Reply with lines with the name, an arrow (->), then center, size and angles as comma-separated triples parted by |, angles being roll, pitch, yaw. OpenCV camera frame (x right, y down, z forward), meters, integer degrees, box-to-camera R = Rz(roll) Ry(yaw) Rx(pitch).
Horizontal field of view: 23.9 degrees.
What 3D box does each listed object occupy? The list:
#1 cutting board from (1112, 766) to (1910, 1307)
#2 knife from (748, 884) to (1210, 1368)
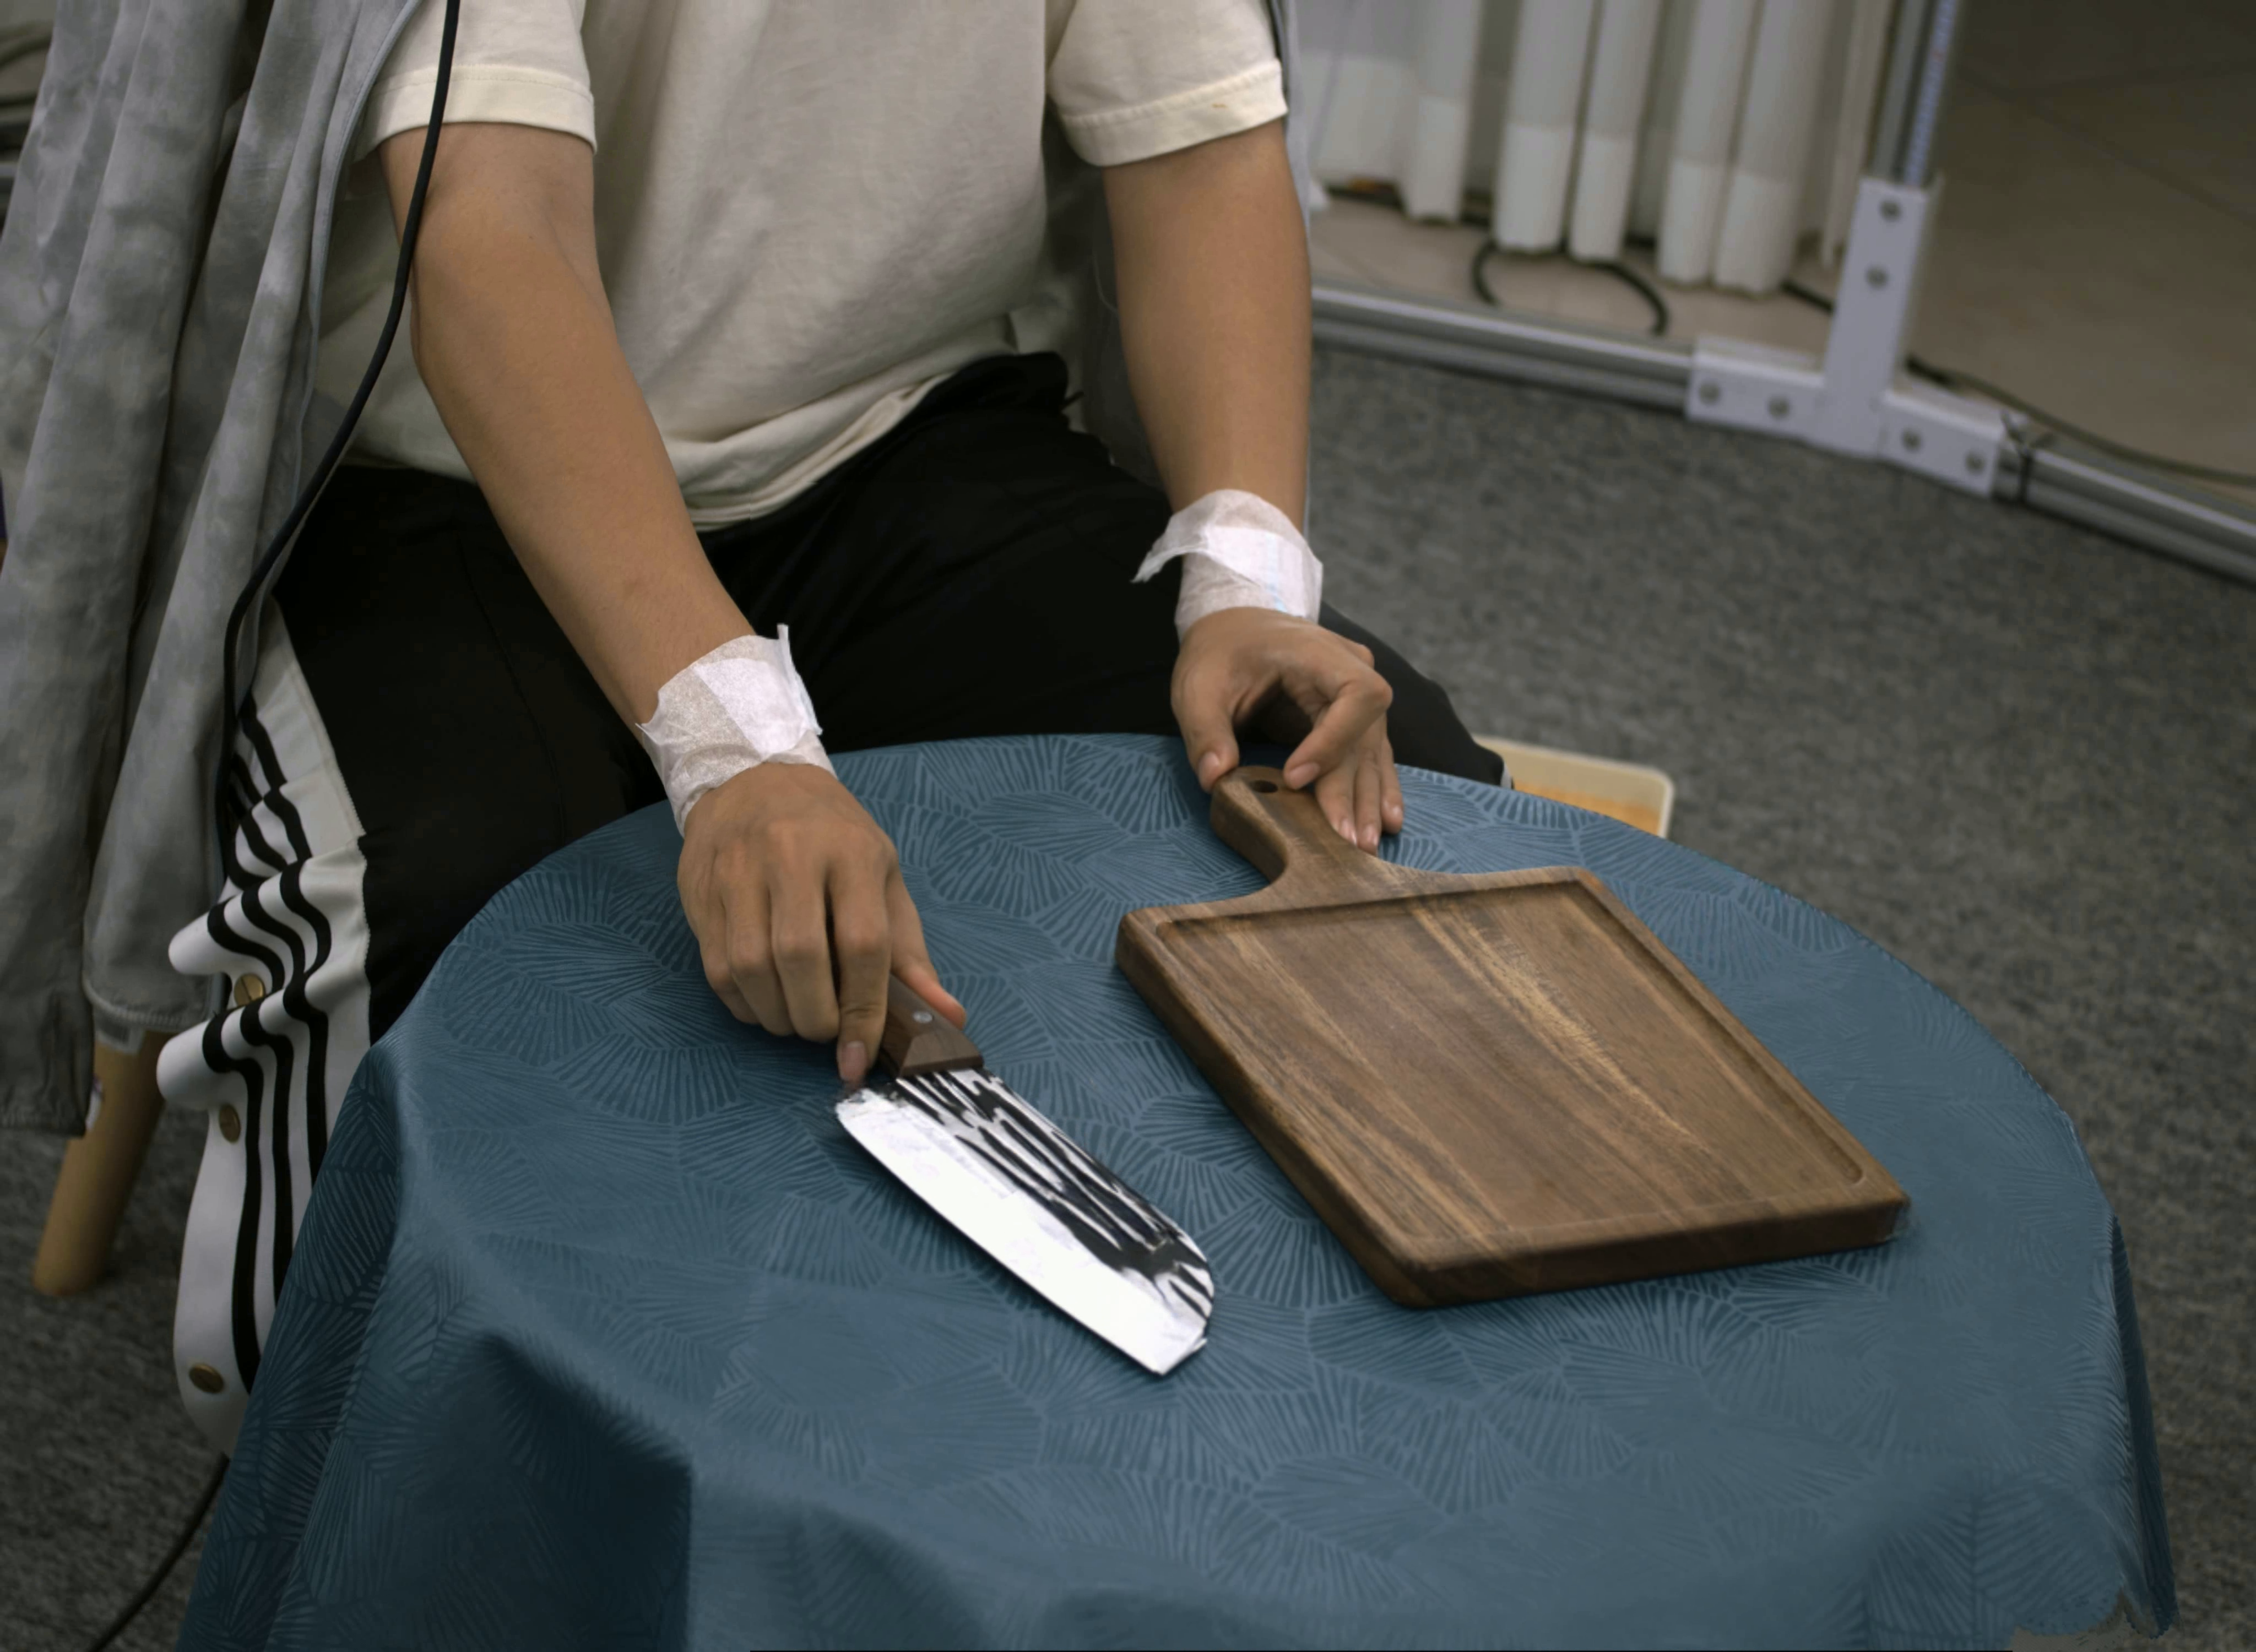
cutting board -> 0.112, 0.064, 1.925 | 0.200, 0.023, 0.355 | -6, 29, -23
knife -> -0.061, 0.101, 1.813 | 0.067, 0.024, 0.302 | -13, 35, -34
